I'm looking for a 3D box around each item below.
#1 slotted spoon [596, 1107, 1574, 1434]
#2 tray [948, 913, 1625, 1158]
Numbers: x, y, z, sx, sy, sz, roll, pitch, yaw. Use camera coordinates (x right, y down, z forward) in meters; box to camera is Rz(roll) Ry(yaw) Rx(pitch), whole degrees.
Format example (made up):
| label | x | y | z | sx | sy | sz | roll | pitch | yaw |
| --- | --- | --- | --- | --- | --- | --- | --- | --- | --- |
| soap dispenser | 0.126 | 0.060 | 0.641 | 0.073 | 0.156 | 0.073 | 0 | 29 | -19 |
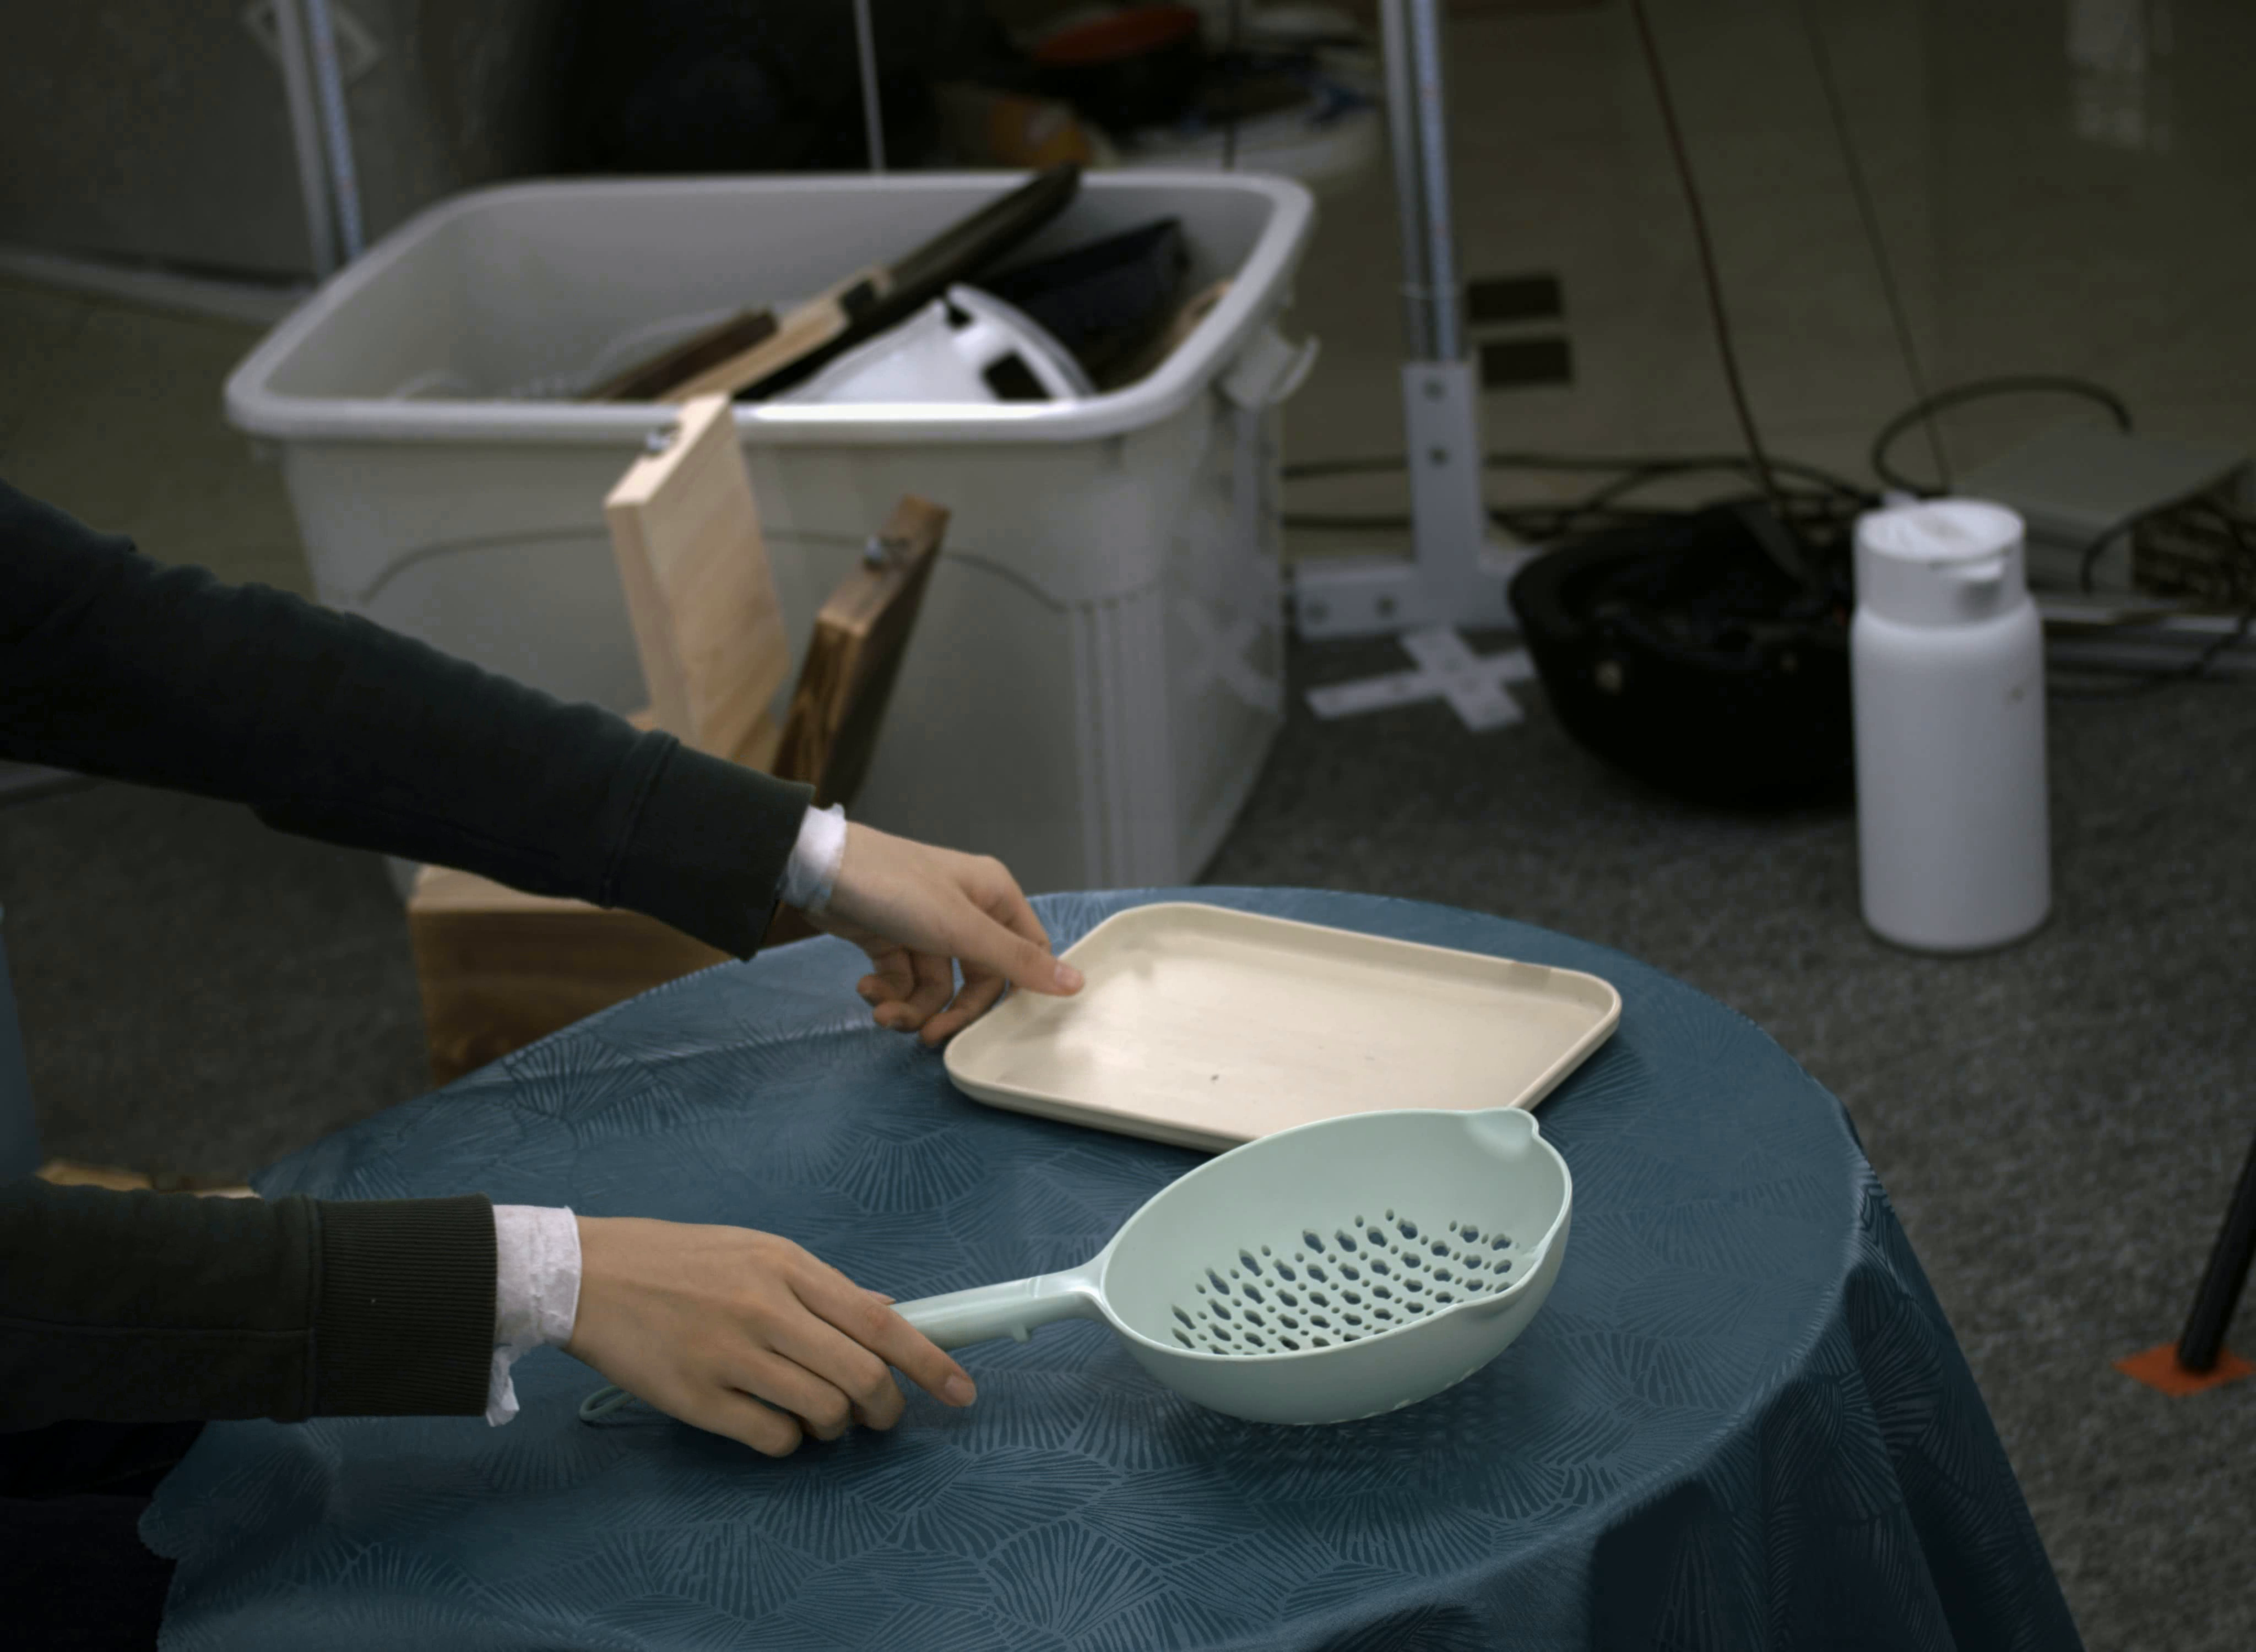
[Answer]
| label | x | y | z | sx | sy | sz | roll | pitch | yaw |
| --- | --- | --- | --- | --- | --- | --- | --- | --- | --- |
| slotted spoon | -0.019 | 0.172 | 2.011 | 0.358 | 0.076 | 0.167 | -4 | 24 | 7 |
| tray | 0.062 | 0.088 | 2.229 | 0.238 | 0.018 | 0.169 | 9 | 29 | 32 |
